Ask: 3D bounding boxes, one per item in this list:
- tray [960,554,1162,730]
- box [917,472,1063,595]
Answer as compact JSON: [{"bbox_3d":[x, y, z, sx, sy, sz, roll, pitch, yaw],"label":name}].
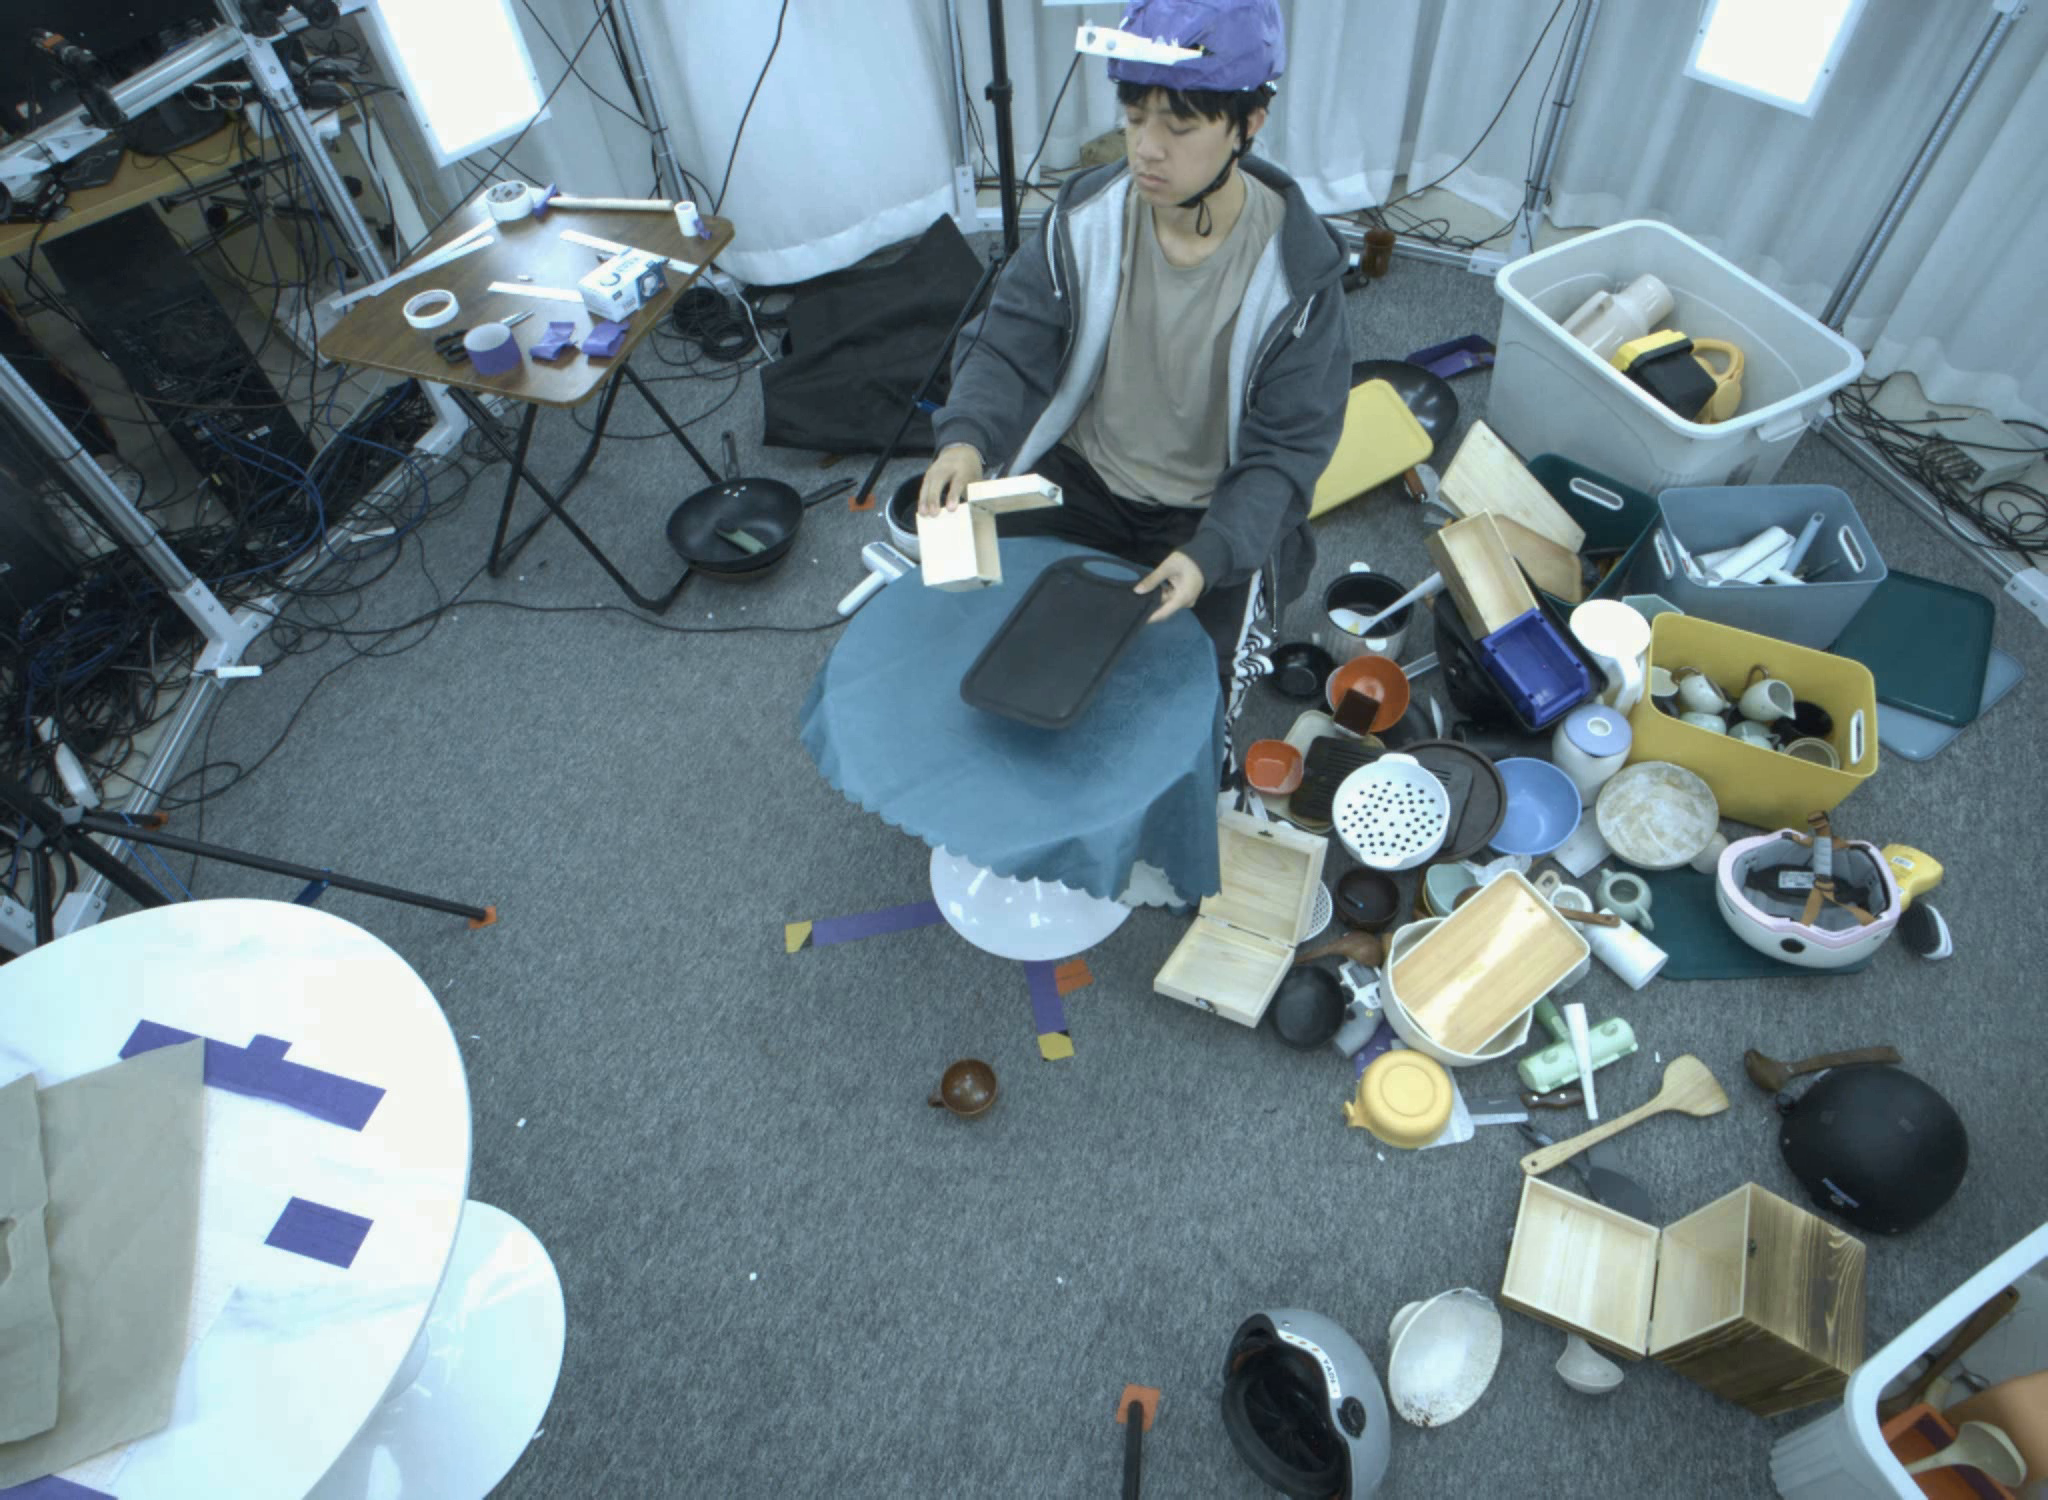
[{"bbox_3d":[0.058,-0.170,1.793,0.207,0.010,0.326,20,62,29],"label":"tray"},{"bbox_3d":[-0.041,-0.293,1.682,0.182,0.104,0.134,-9,89,19],"label":"box"}]
